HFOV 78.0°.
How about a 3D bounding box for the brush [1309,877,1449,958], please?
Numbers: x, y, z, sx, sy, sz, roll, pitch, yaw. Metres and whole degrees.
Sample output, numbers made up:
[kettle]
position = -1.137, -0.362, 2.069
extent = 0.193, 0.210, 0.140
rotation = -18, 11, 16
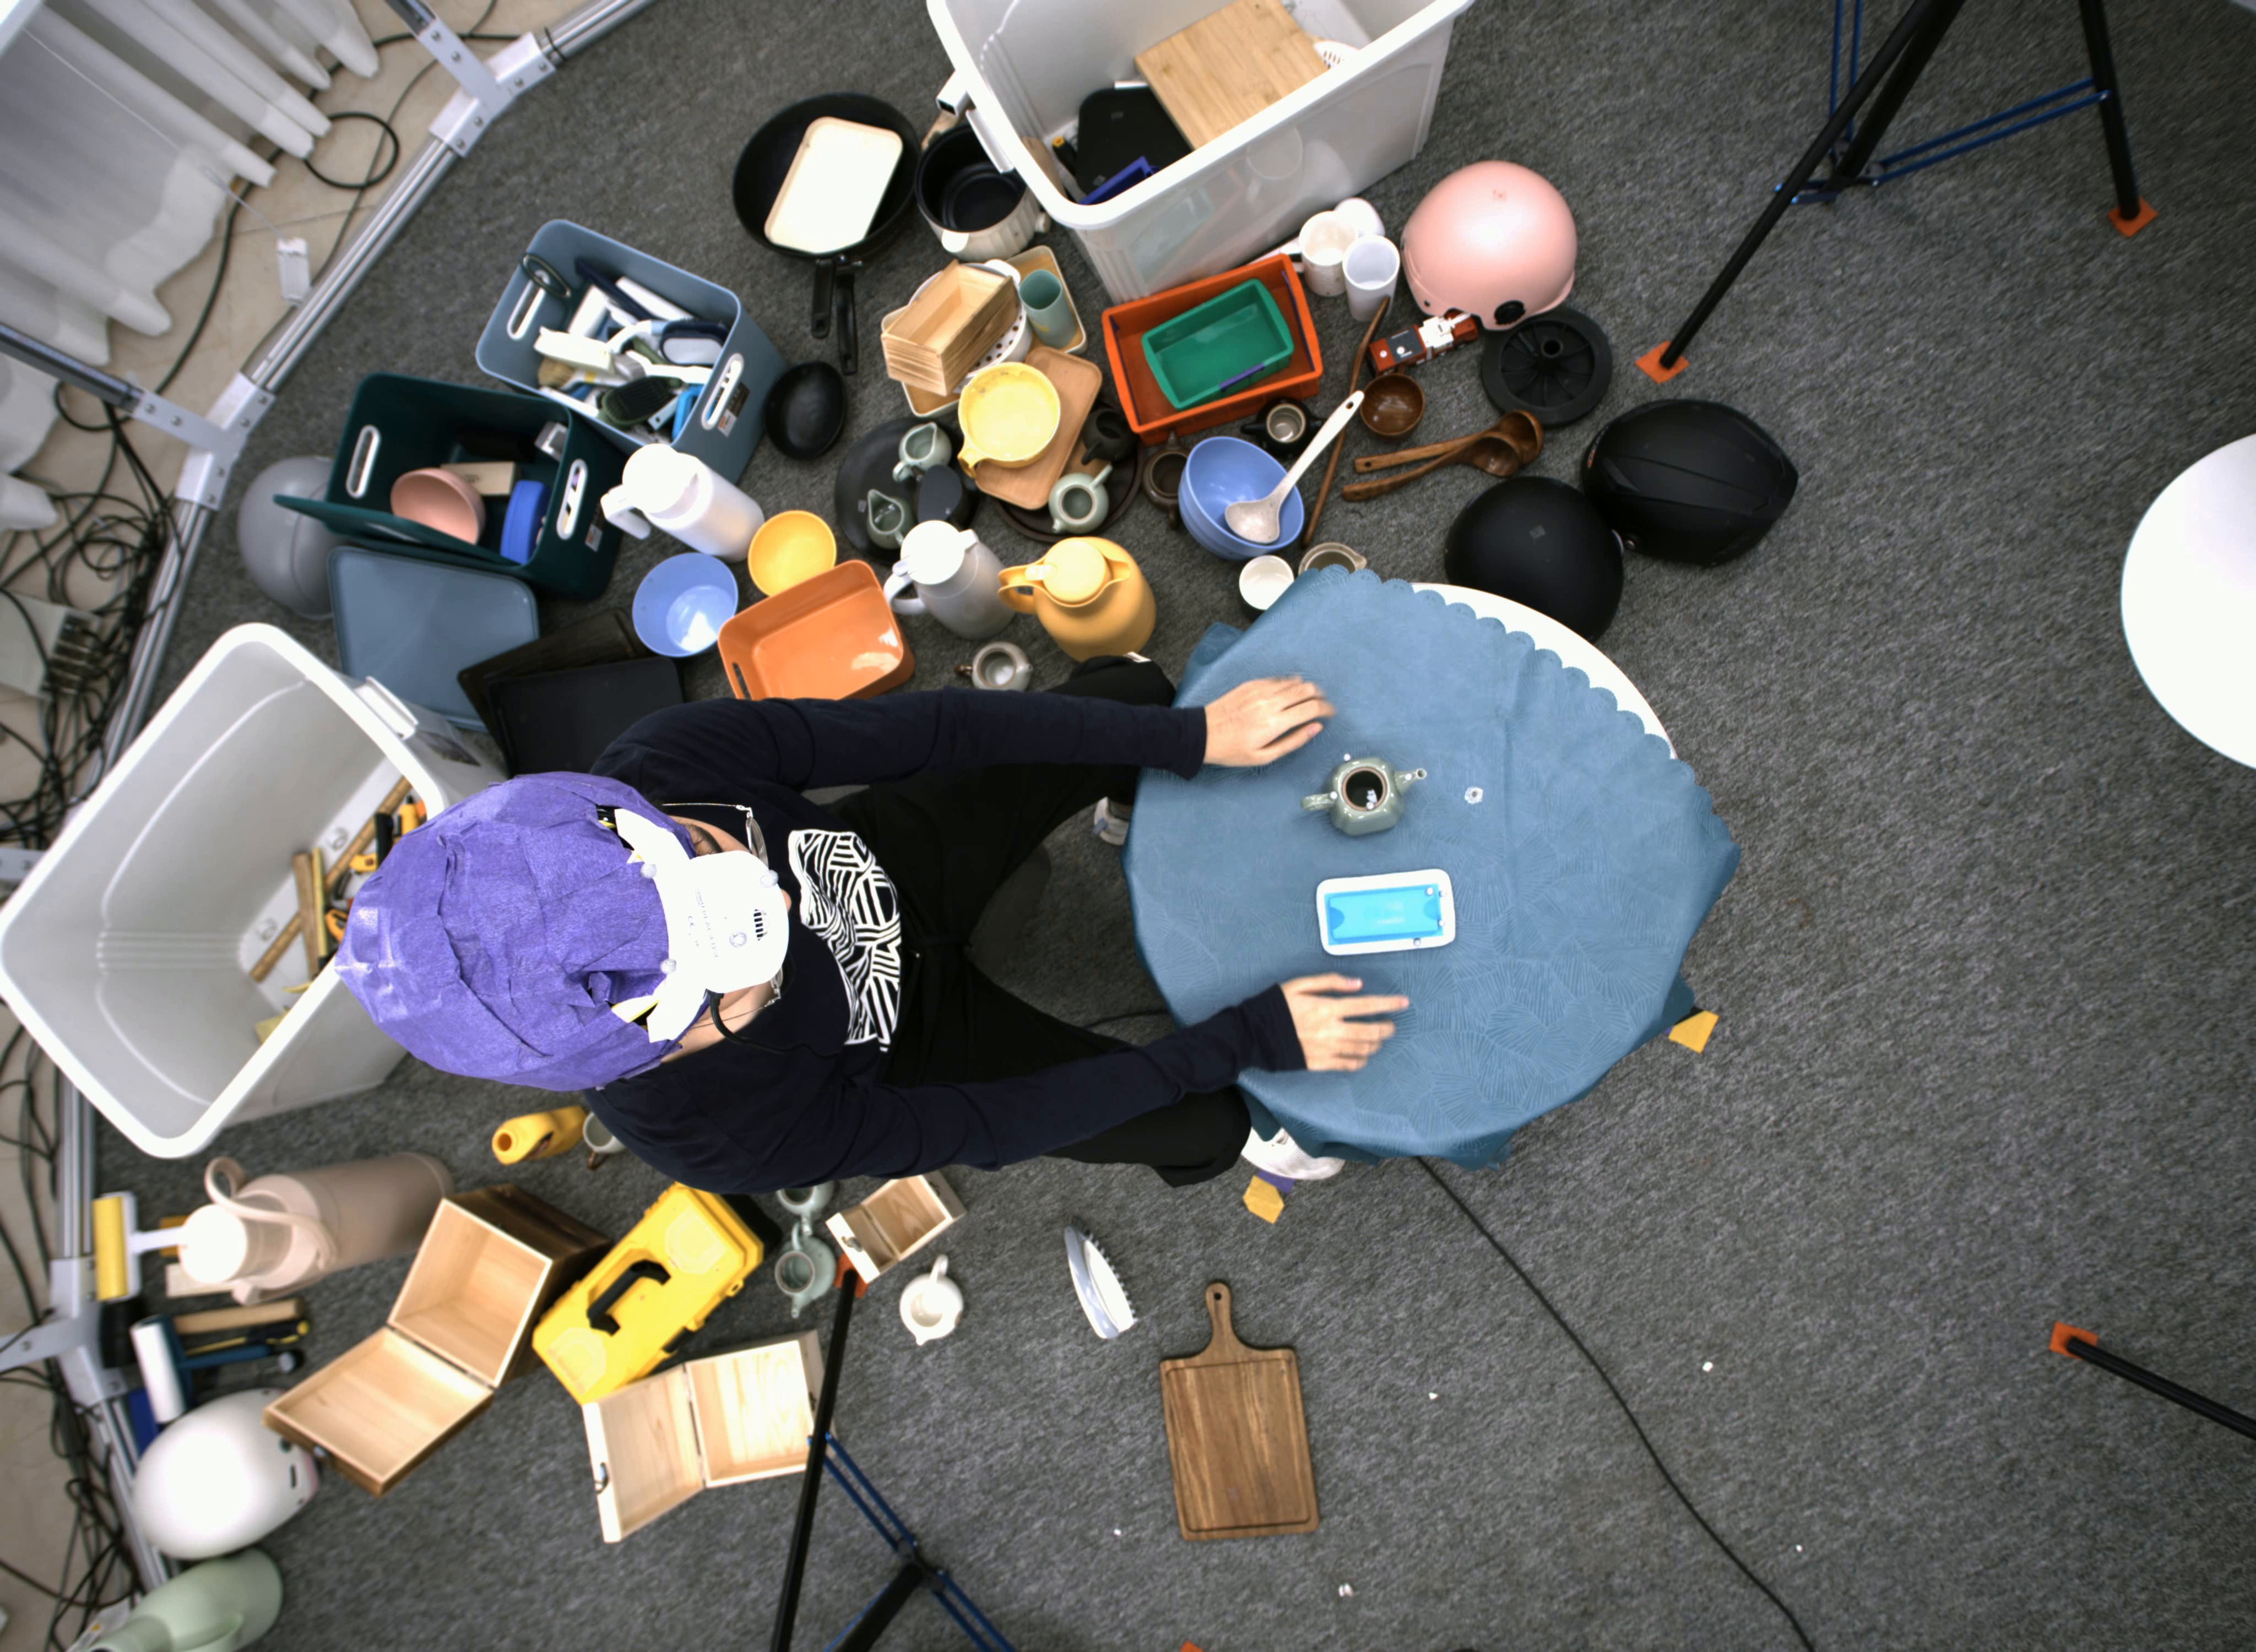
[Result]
[brush]
position = 0.259, 0.090, 1.428
extent = 0.144, 0.056, 0.083
rotation = -4, 82, 7

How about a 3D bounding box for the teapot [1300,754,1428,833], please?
[teapot]
position = 0.245, -0.037, 1.432
extent = 0.133, 0.075, 0.079
rotation = -14, 84, 11
